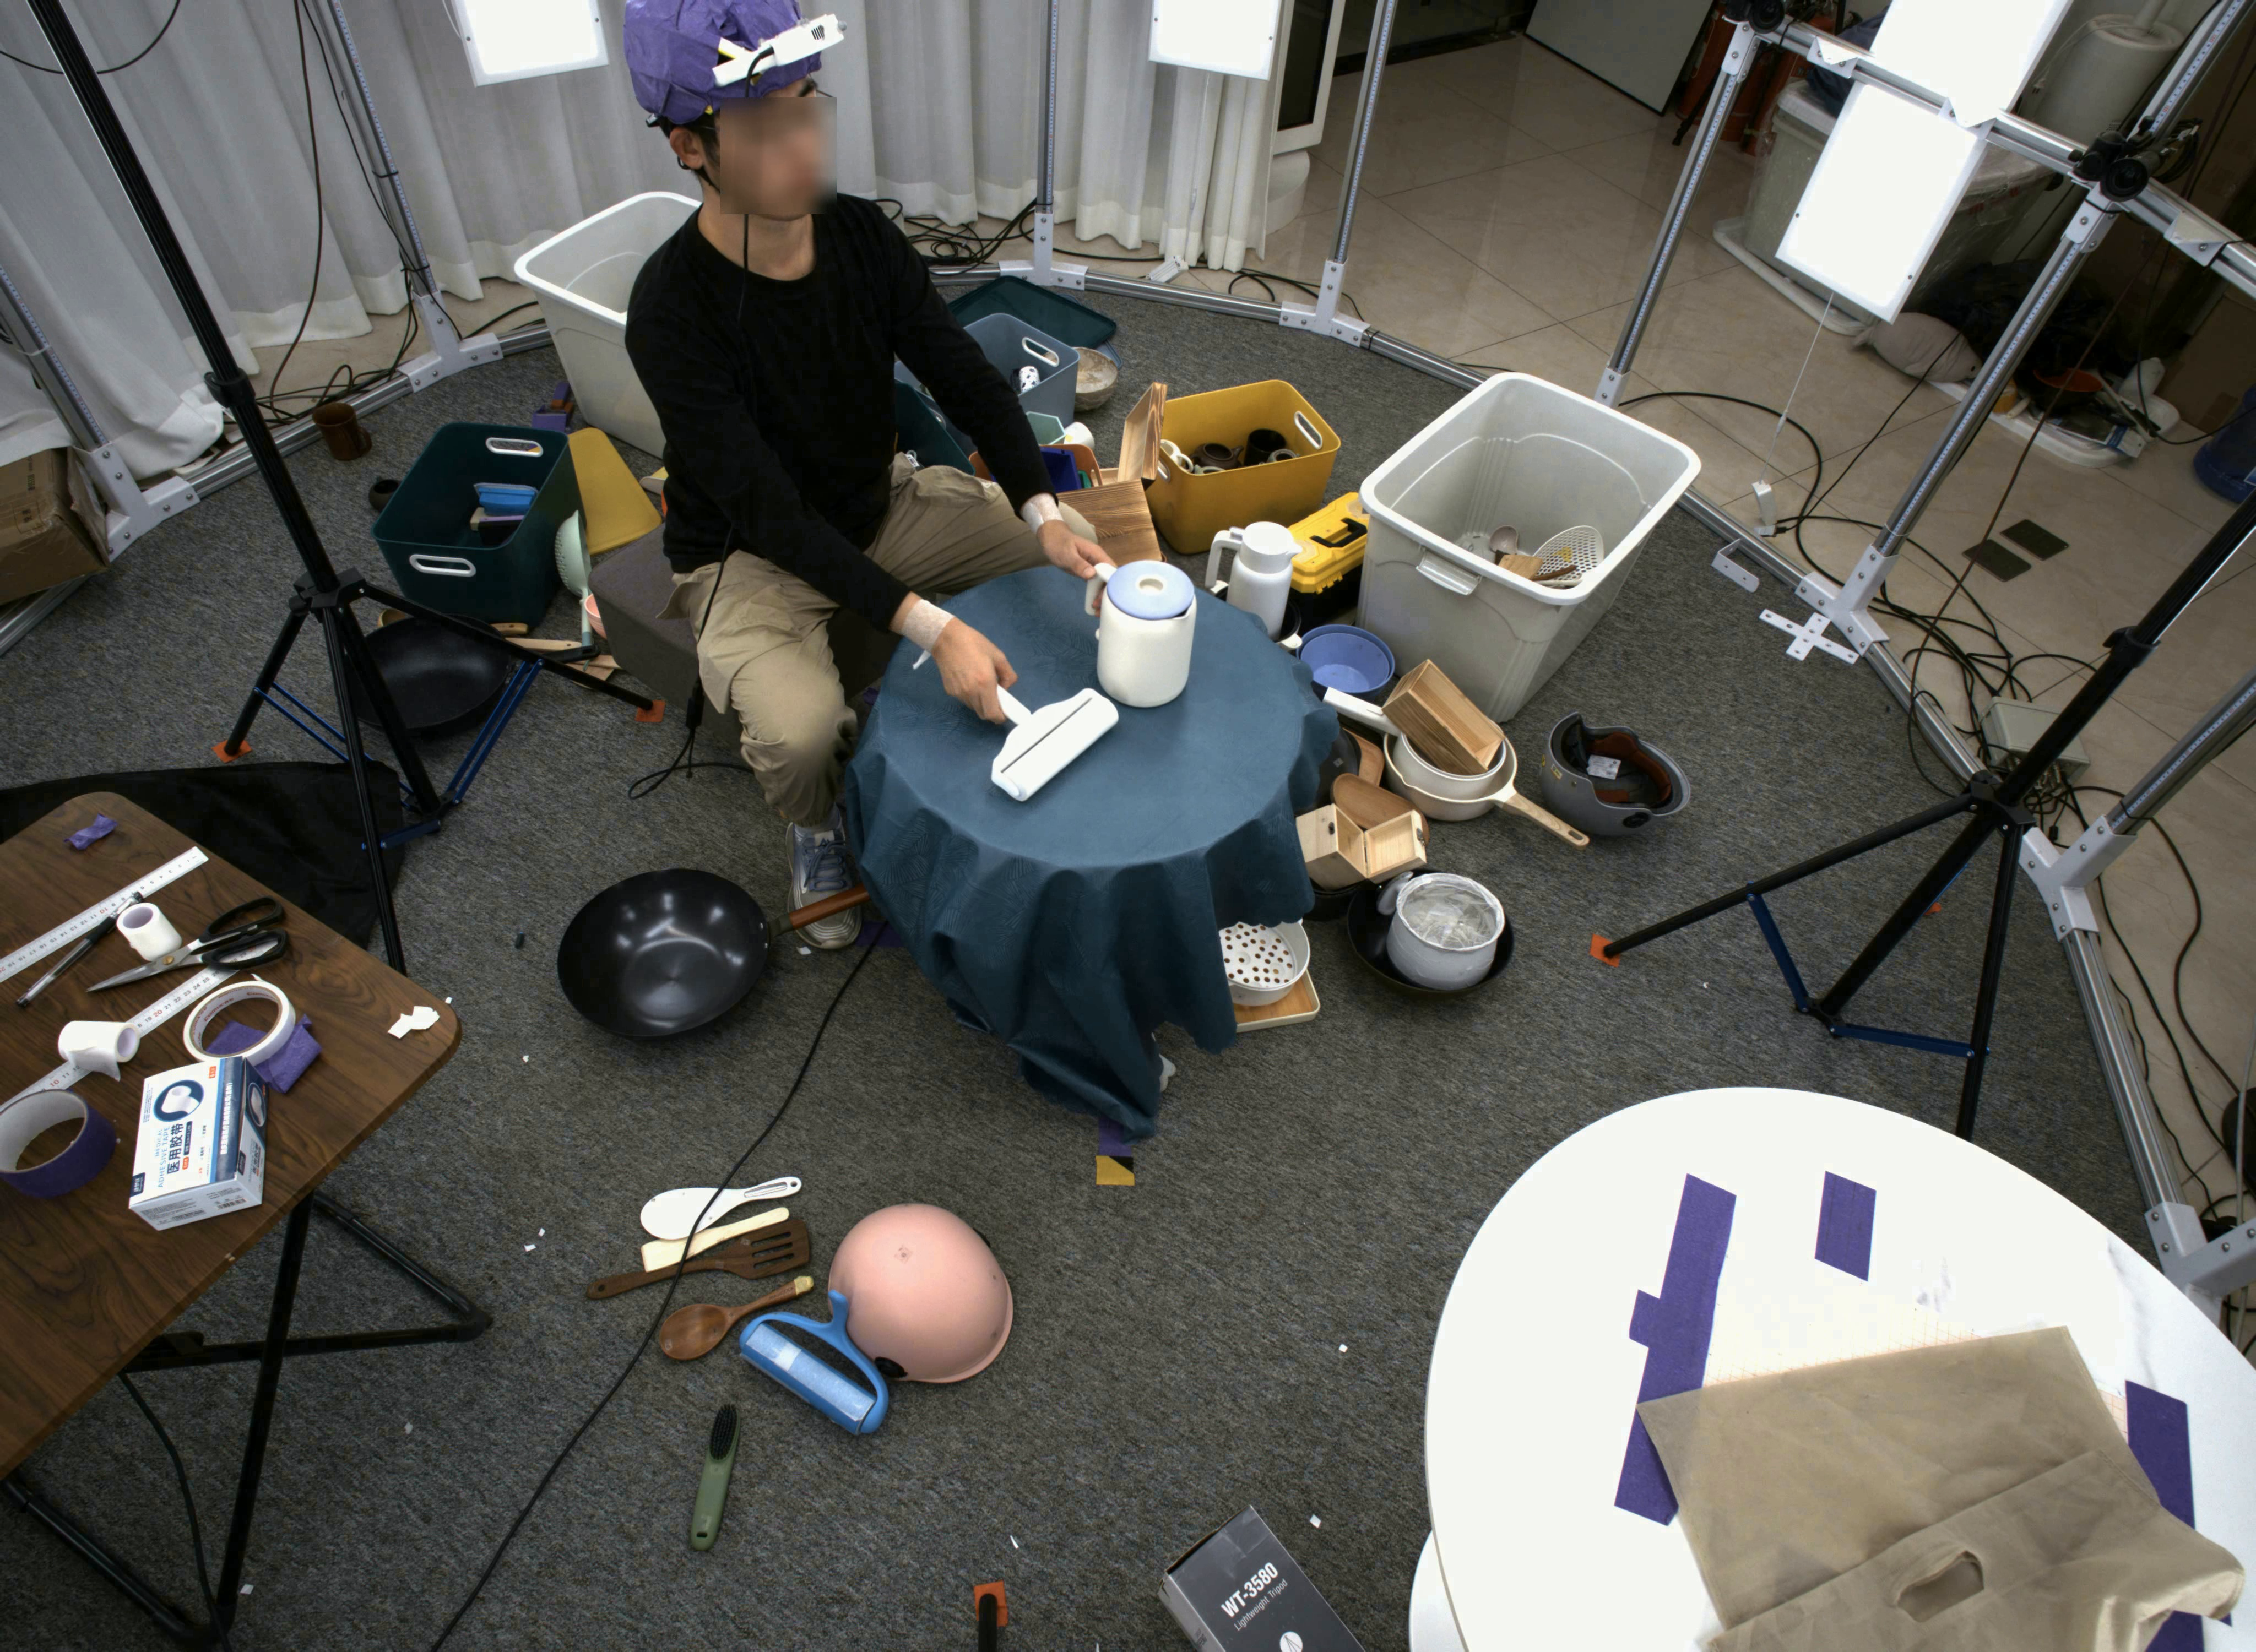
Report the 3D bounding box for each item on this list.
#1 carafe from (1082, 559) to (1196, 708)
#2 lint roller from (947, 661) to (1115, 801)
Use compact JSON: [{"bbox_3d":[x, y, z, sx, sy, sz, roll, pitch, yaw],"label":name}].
[{"bbox_3d":[0.008,-0.282,1.804,0.194,0.178,0.133,37,56,27],"label":"carafe"},{"bbox_3d":[-0.159,-0.161,1.748,0.227,0.047,0.205,38,58,14],"label":"lint roller"}]
